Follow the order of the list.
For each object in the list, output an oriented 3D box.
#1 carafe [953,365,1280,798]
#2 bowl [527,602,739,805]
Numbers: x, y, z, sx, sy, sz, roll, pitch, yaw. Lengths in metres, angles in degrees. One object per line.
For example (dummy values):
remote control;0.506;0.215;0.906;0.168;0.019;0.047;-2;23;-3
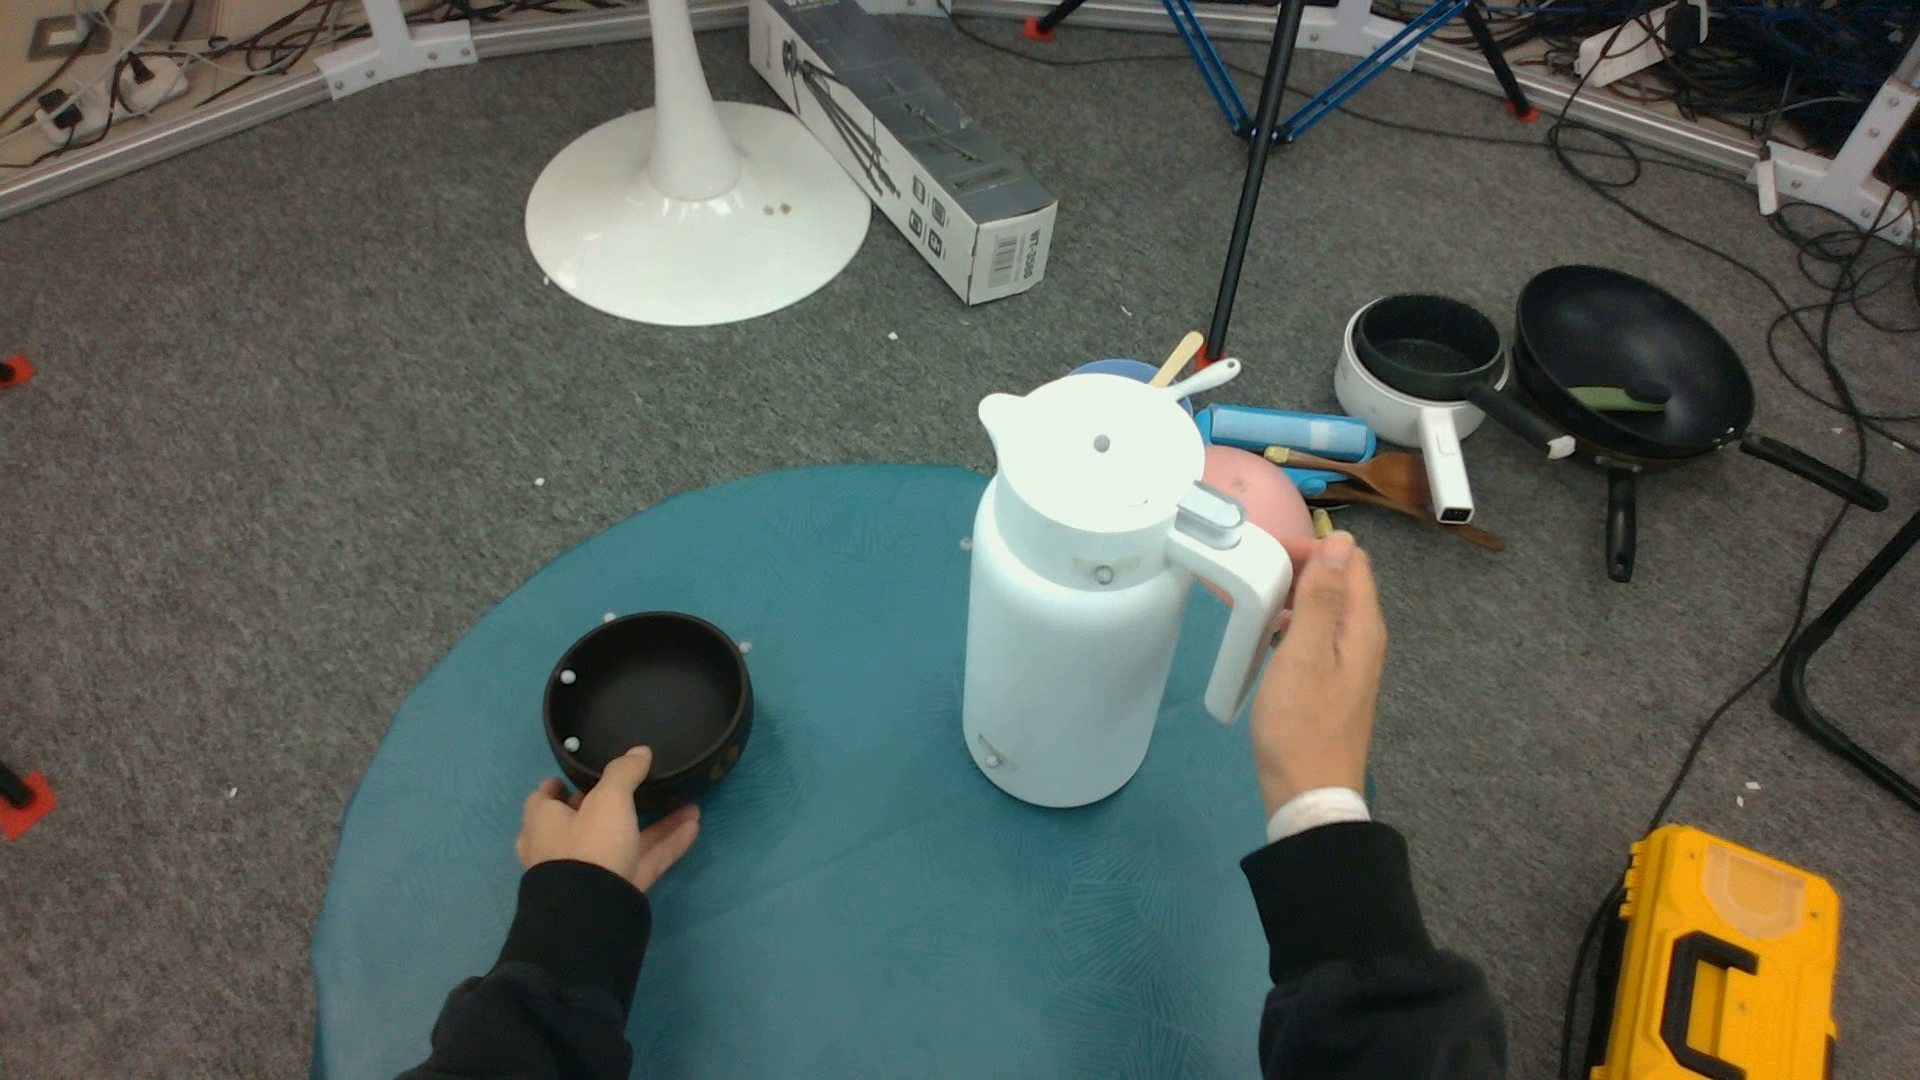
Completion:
carafe;0.072;0.038;0.749;0.173;0.267;0.124;27;54;17
bowl;-0.188;0.102;0.807;0.118;0.069;0.118;2;53;-2
